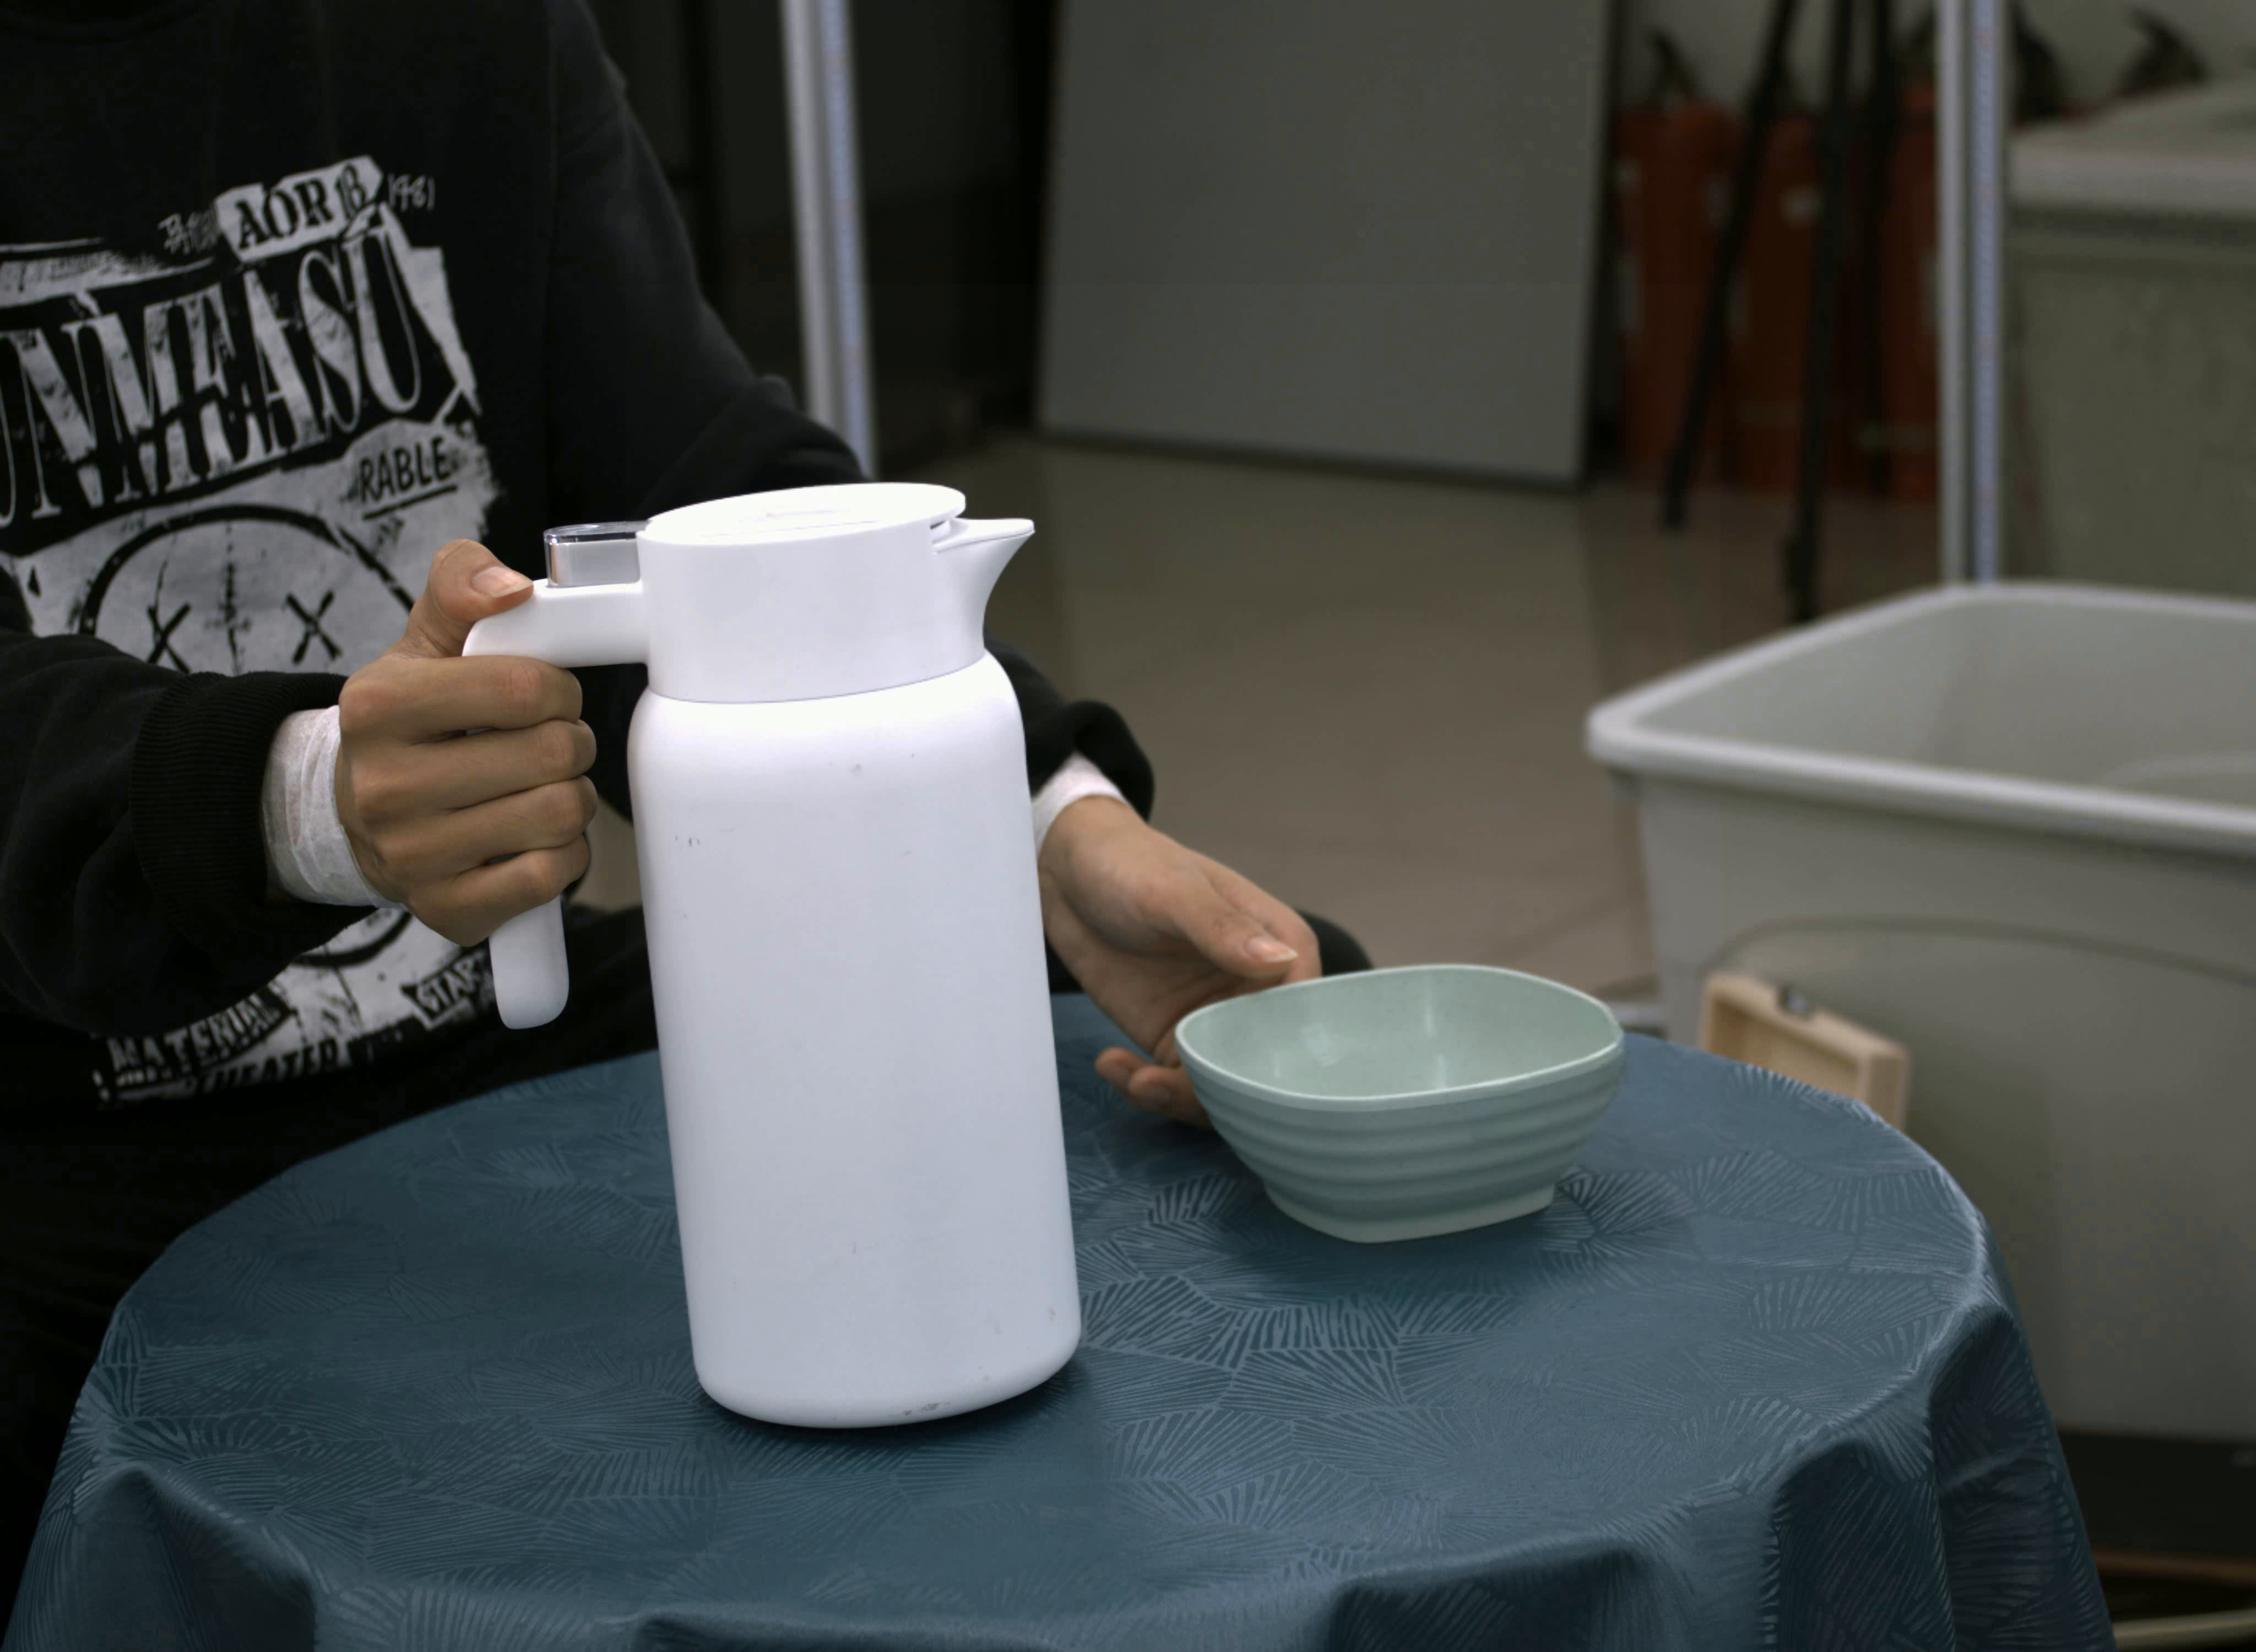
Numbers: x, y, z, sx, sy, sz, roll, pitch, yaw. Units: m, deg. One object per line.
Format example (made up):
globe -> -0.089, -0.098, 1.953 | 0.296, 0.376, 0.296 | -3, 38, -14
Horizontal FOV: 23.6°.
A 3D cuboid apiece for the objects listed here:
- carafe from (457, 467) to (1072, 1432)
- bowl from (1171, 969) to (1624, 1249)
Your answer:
carafe -> -0.101, 0.036, 1.584 | 0.171, 0.272, 0.124 | -5, 13, 4
bowl -> 0.088, 0.094, 1.742 | 0.149, 0.059, 0.152 | -4, 14, 0
